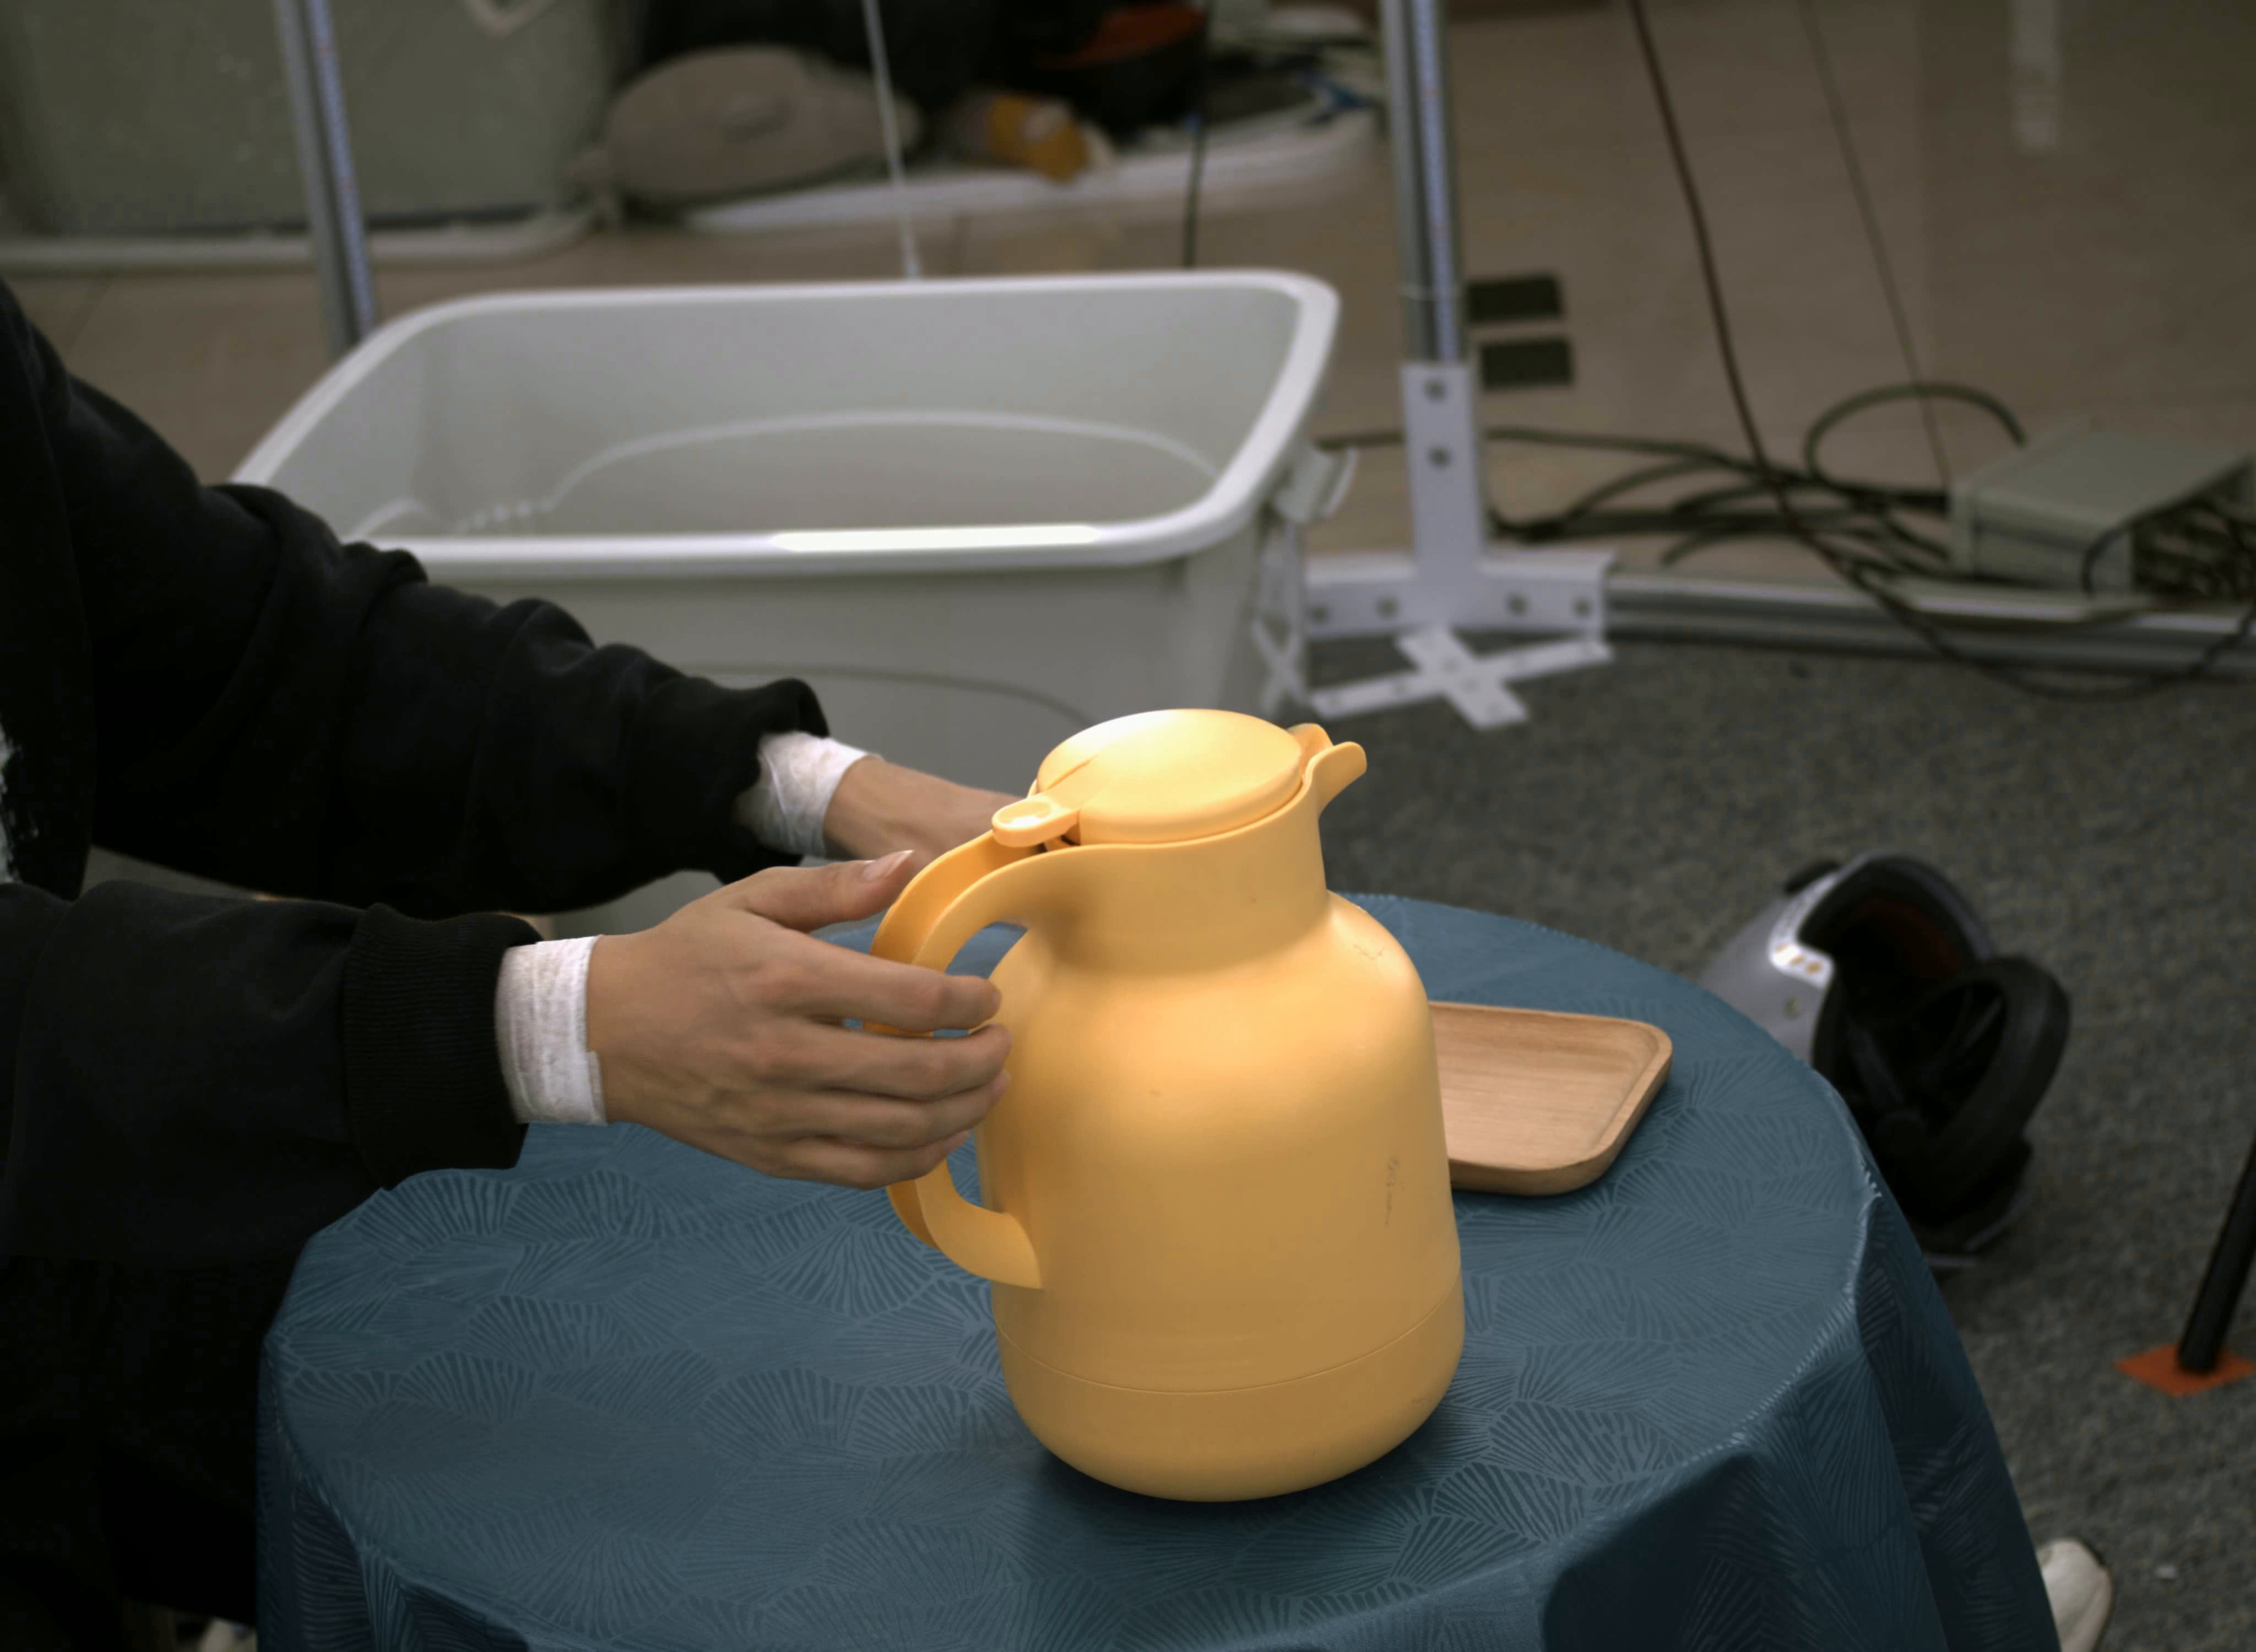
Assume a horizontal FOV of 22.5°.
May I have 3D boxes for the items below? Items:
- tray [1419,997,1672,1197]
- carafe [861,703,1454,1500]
[{"bbox_3d":[0.079,0.100,2.195,0.250,0.023,0.129,4,25,24],"label":"tray"},{"bbox_3d":[0.007,0.094,1.927,0.201,0.264,0.162,-17,25,-25],"label":"carafe"}]
